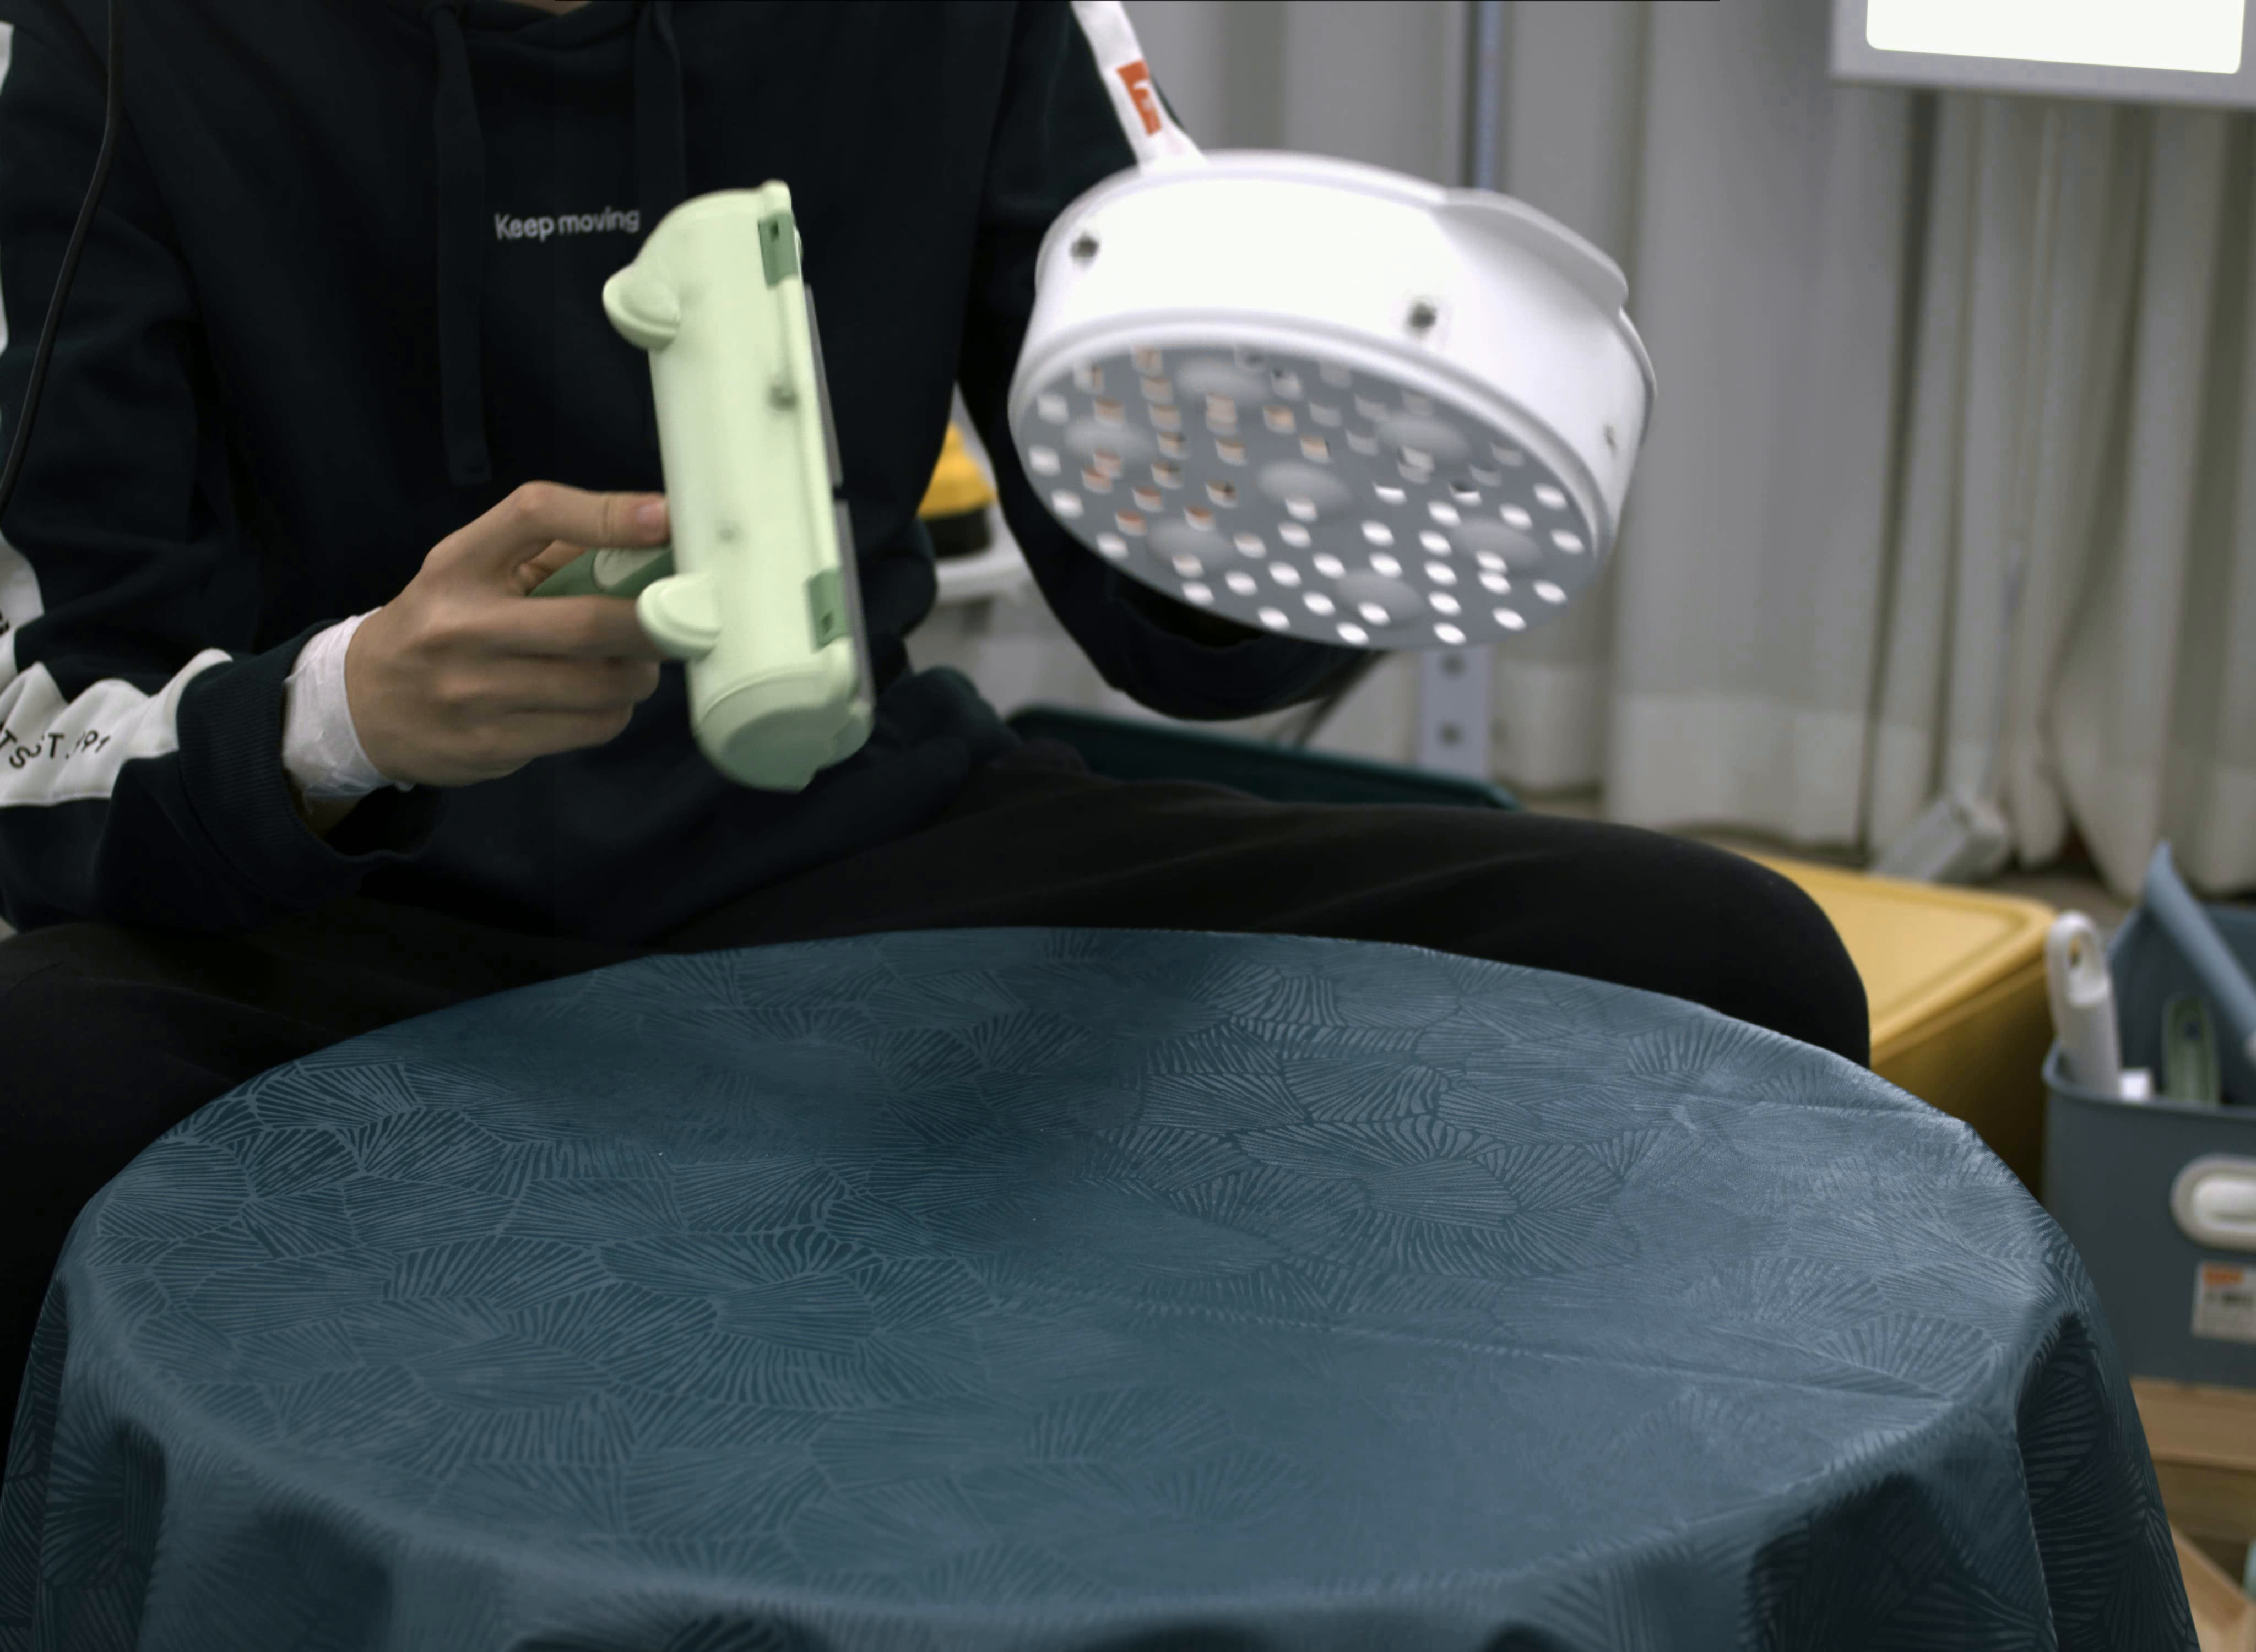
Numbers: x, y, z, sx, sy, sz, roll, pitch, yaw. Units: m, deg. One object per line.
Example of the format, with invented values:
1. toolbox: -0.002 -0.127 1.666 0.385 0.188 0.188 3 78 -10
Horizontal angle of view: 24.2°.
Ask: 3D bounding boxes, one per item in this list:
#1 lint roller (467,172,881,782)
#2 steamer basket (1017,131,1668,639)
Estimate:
1. lint roller: -0.163 -0.089 1.667 0.182 0.197 0.083 -28 -32 29
2. steamer basket: 0.064 -0.131 1.638 0.204 0.069 0.229 29 -27 -27
